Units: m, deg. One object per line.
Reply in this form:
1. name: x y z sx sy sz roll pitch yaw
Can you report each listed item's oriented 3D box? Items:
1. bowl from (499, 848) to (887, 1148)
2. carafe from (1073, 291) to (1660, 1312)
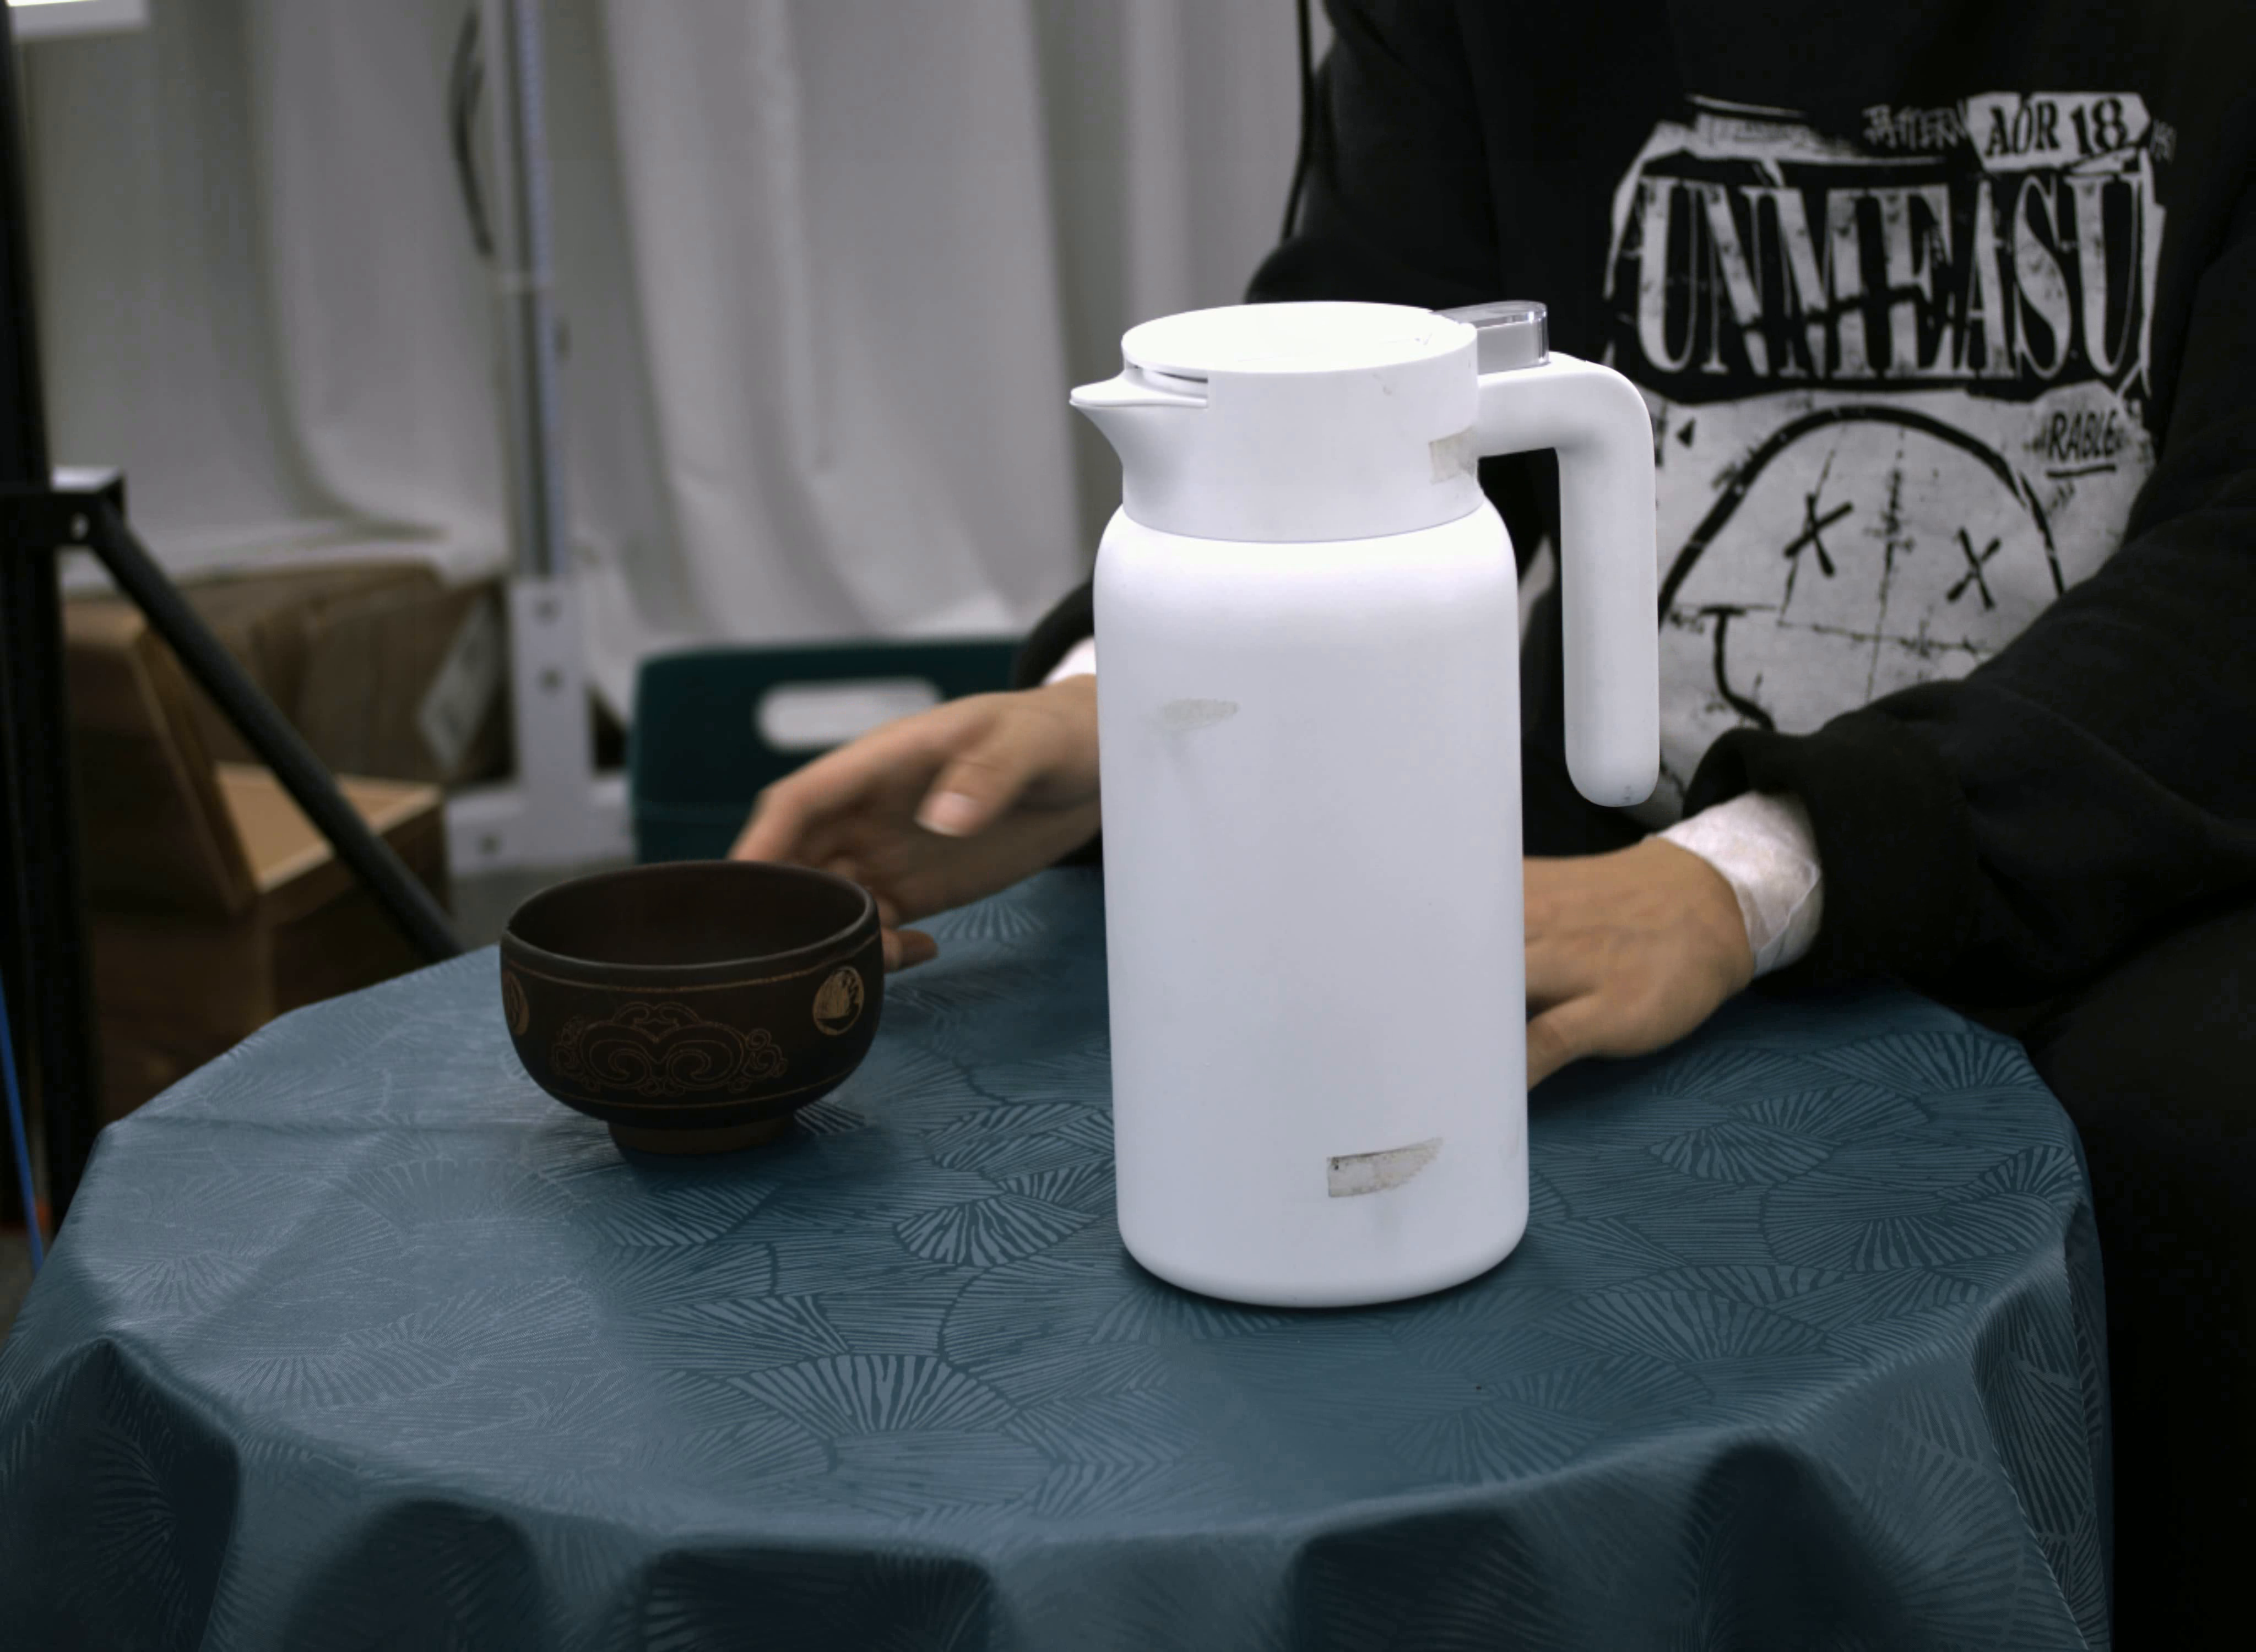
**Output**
1. bowl: -0.131 0.056 1.624 0.117 0.070 0.118 -3 16 0
2. carafe: 0.067 -0.011 1.475 0.169 0.269 0.126 -9 14 -24
